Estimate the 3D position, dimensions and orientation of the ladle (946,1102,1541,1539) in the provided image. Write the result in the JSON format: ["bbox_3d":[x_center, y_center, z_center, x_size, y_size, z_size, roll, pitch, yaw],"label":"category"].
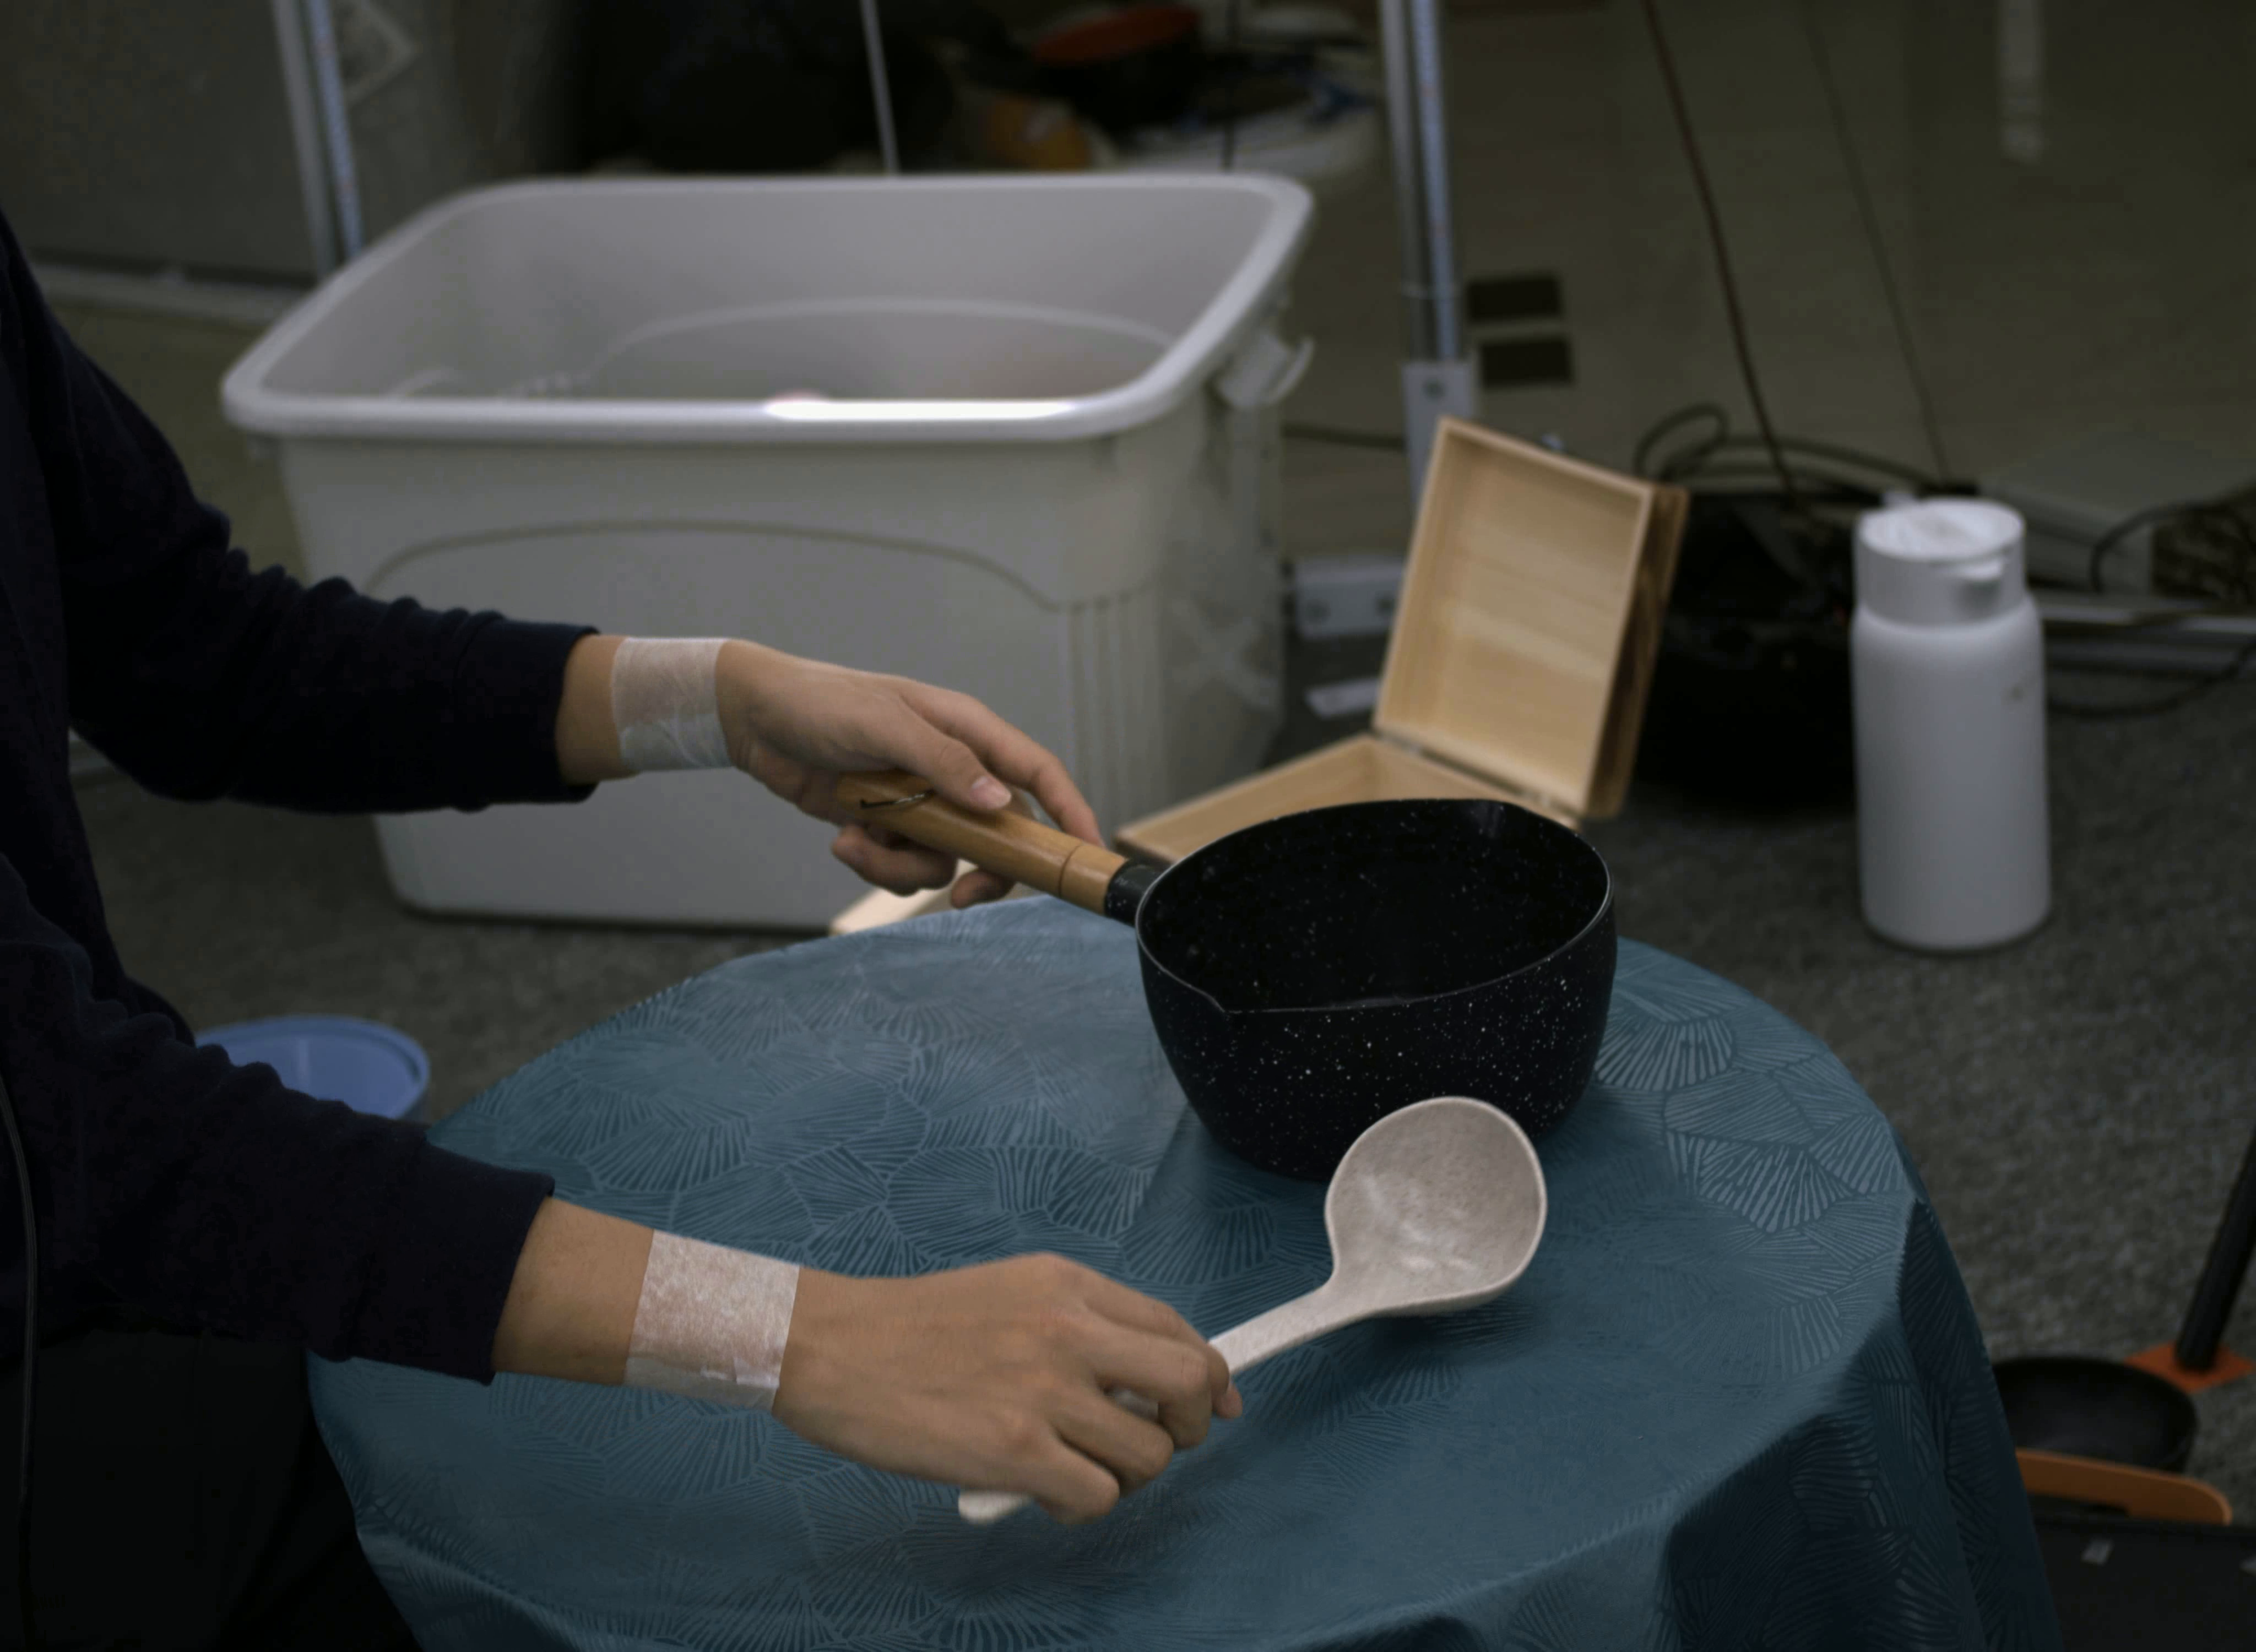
[{"bbox_3d":[0.037,0.168,1.957,0.088,0.070,0.273,27,33,34],"label":"ladle"}]

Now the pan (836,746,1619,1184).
[{"bbox_3d":[0.030,0.044,2.213,0.341,0.110,0.205,10,31,31],"label":"pan"}]
